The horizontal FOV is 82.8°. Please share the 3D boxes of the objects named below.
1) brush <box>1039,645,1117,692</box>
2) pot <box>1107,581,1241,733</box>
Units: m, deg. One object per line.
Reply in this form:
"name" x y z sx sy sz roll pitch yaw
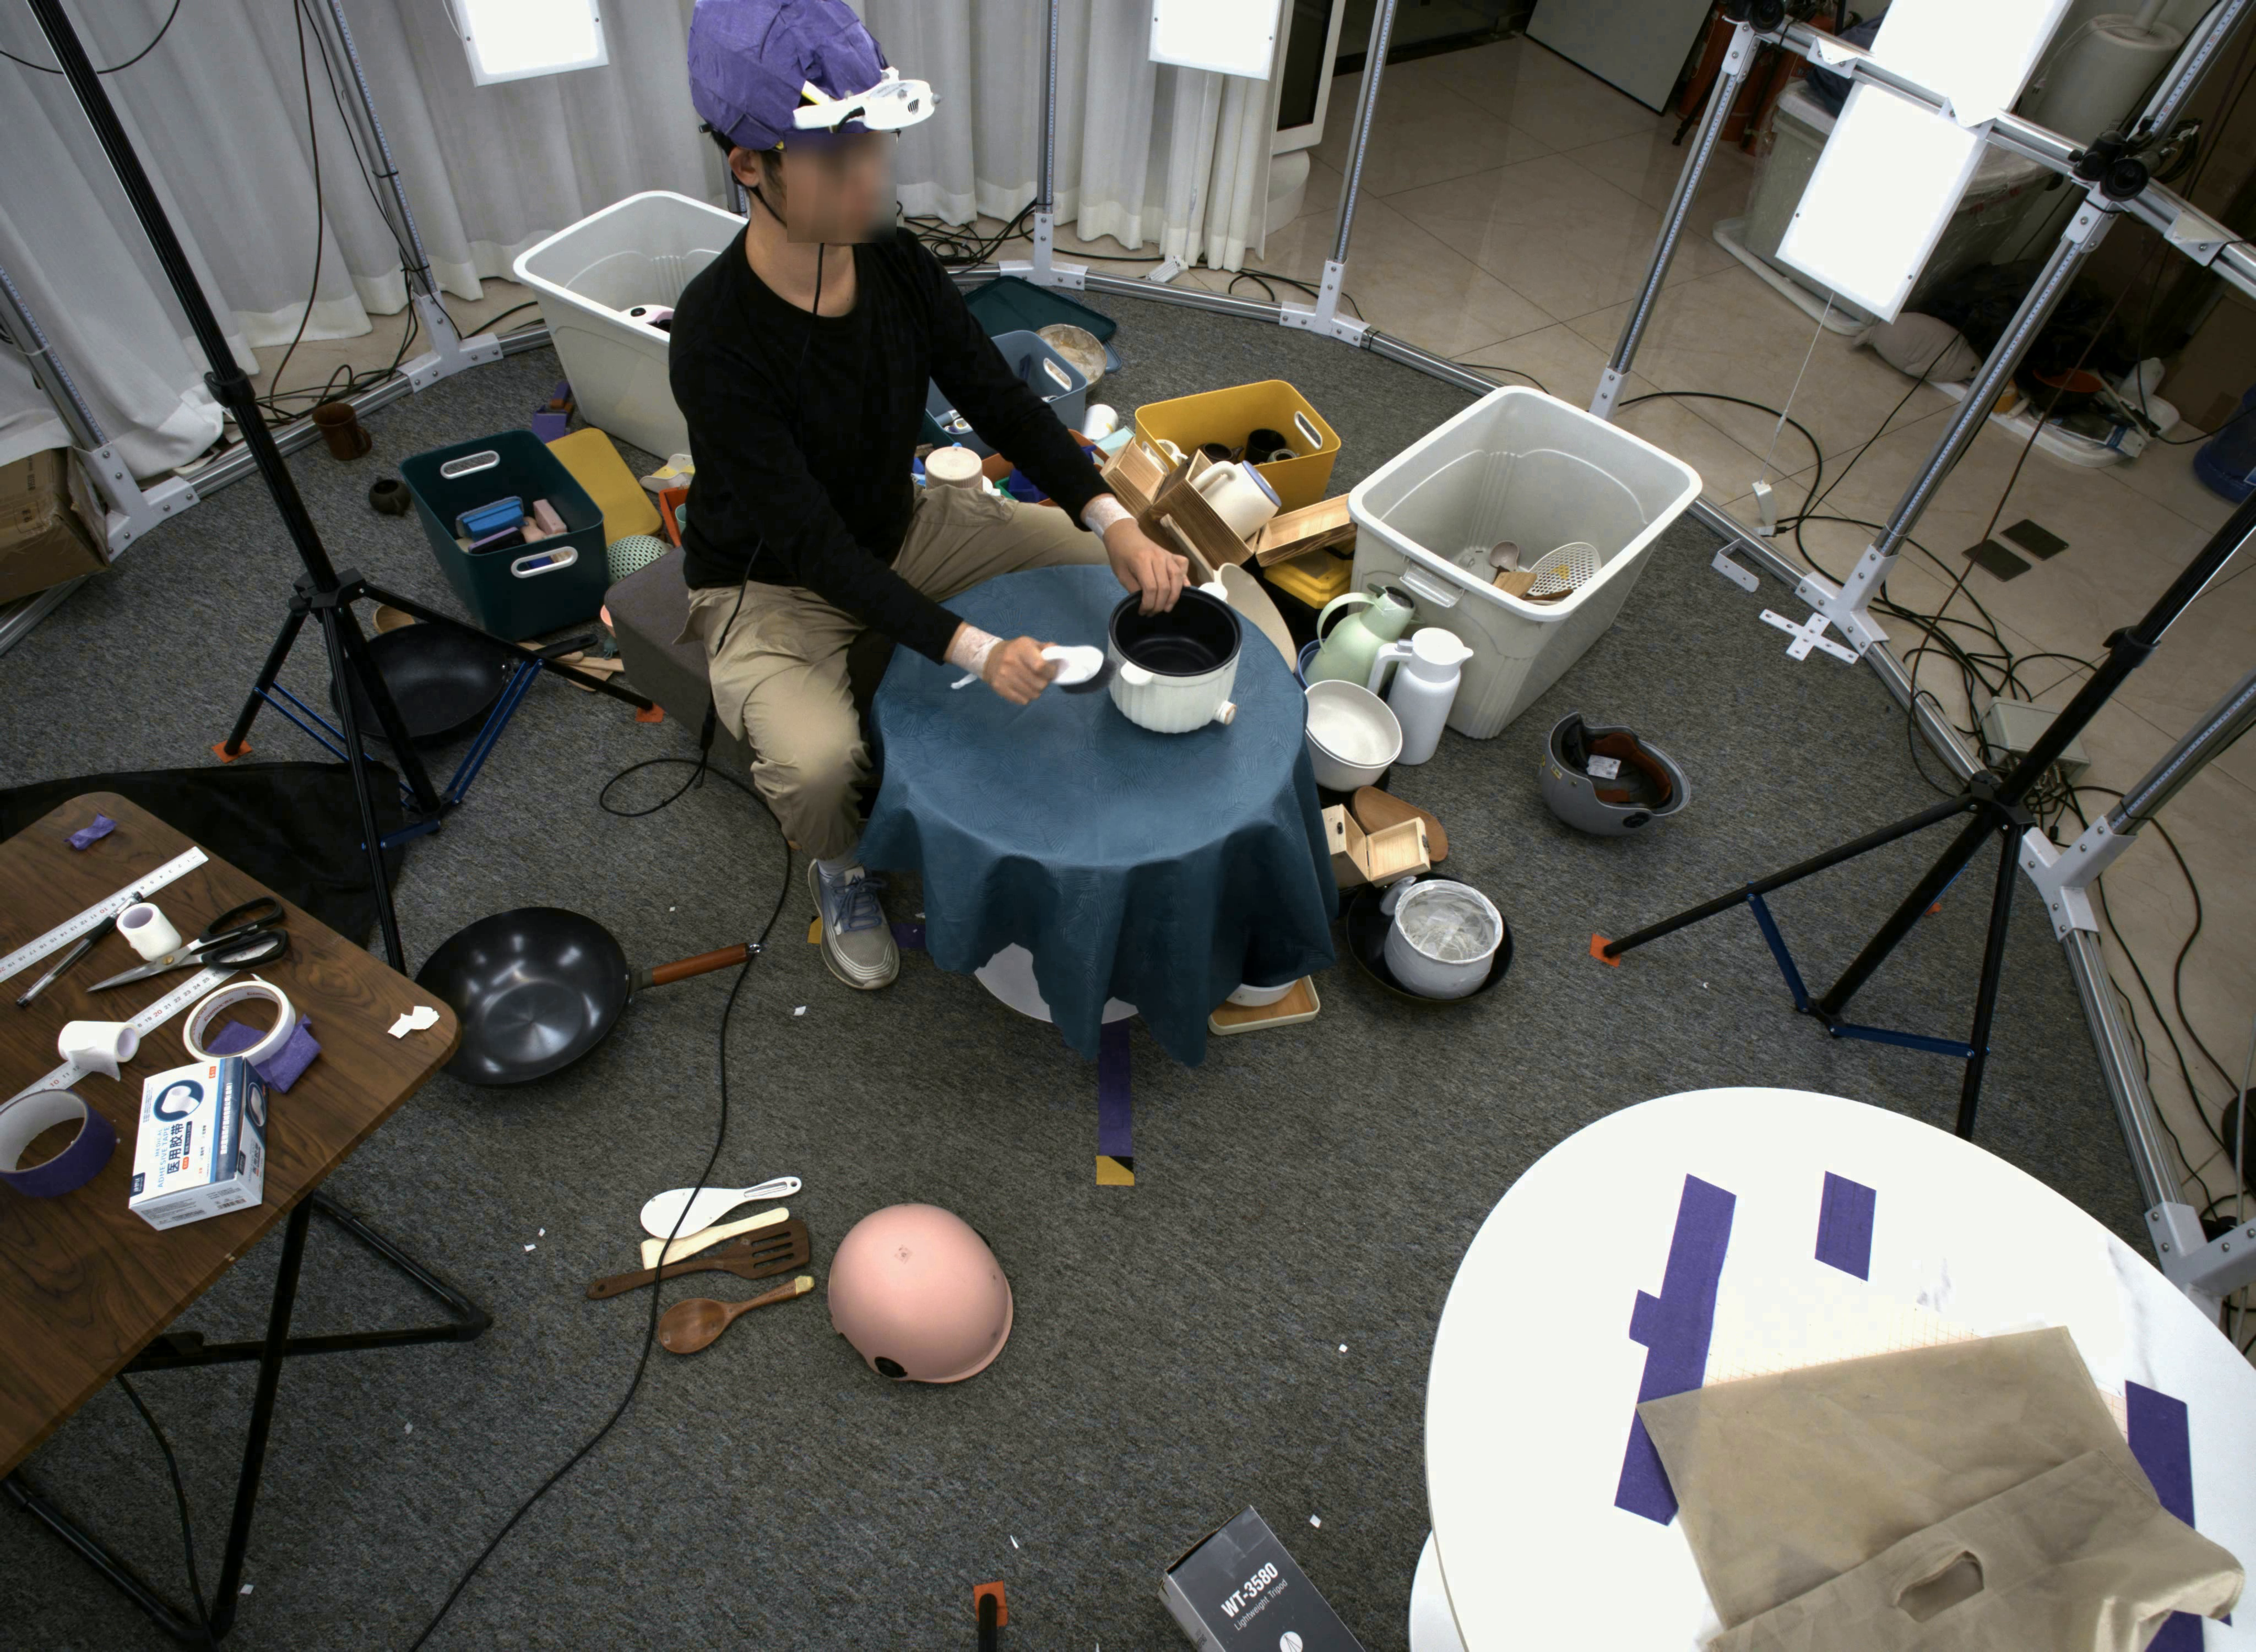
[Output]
"brush" -0.072 -0.211 1.656 0.099 0.071 0.051 1 68 47
"pot" 0.065 -0.223 1.779 0.192 0.139 0.244 25 53 20
